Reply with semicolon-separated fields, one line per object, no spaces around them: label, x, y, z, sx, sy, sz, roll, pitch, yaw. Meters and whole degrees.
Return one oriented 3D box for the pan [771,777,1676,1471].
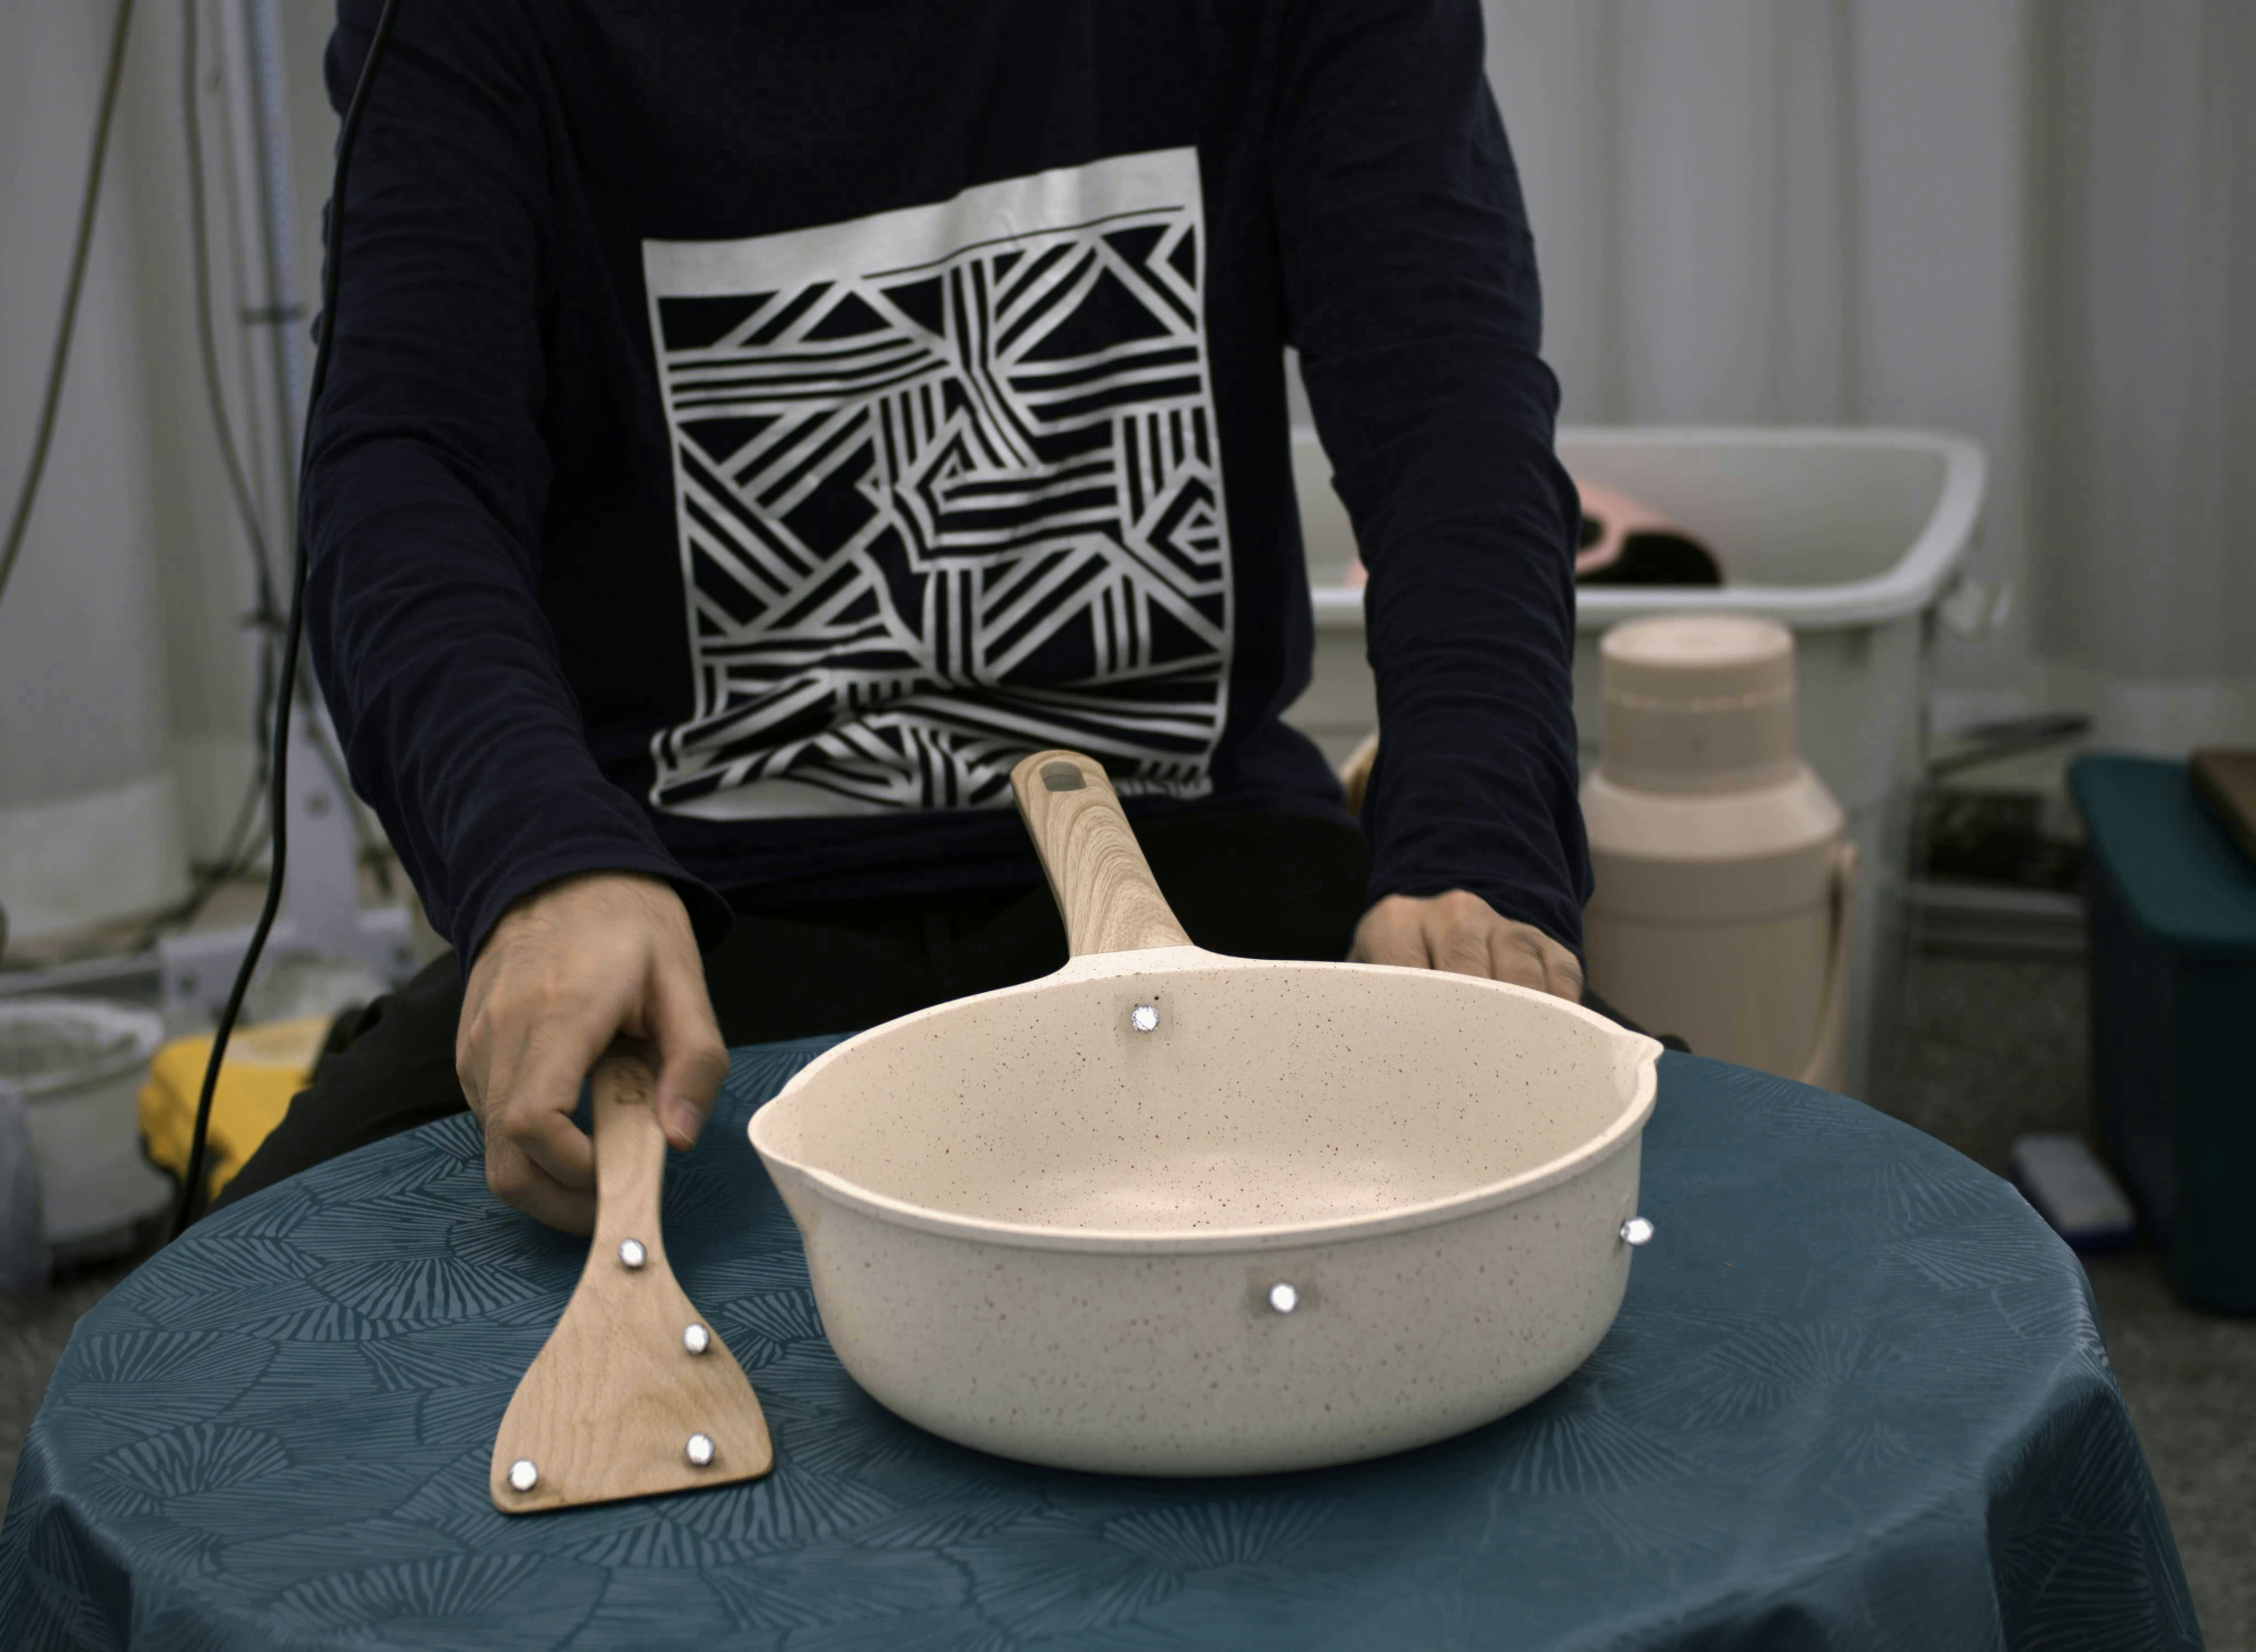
pan;0.015;0.083;1.647;0.262;0.101;0.438;-6;15;-9

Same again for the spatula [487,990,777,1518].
spatula;-0.146;0.121;1.627;0.079;0.016;0.331;-3;25;-3
